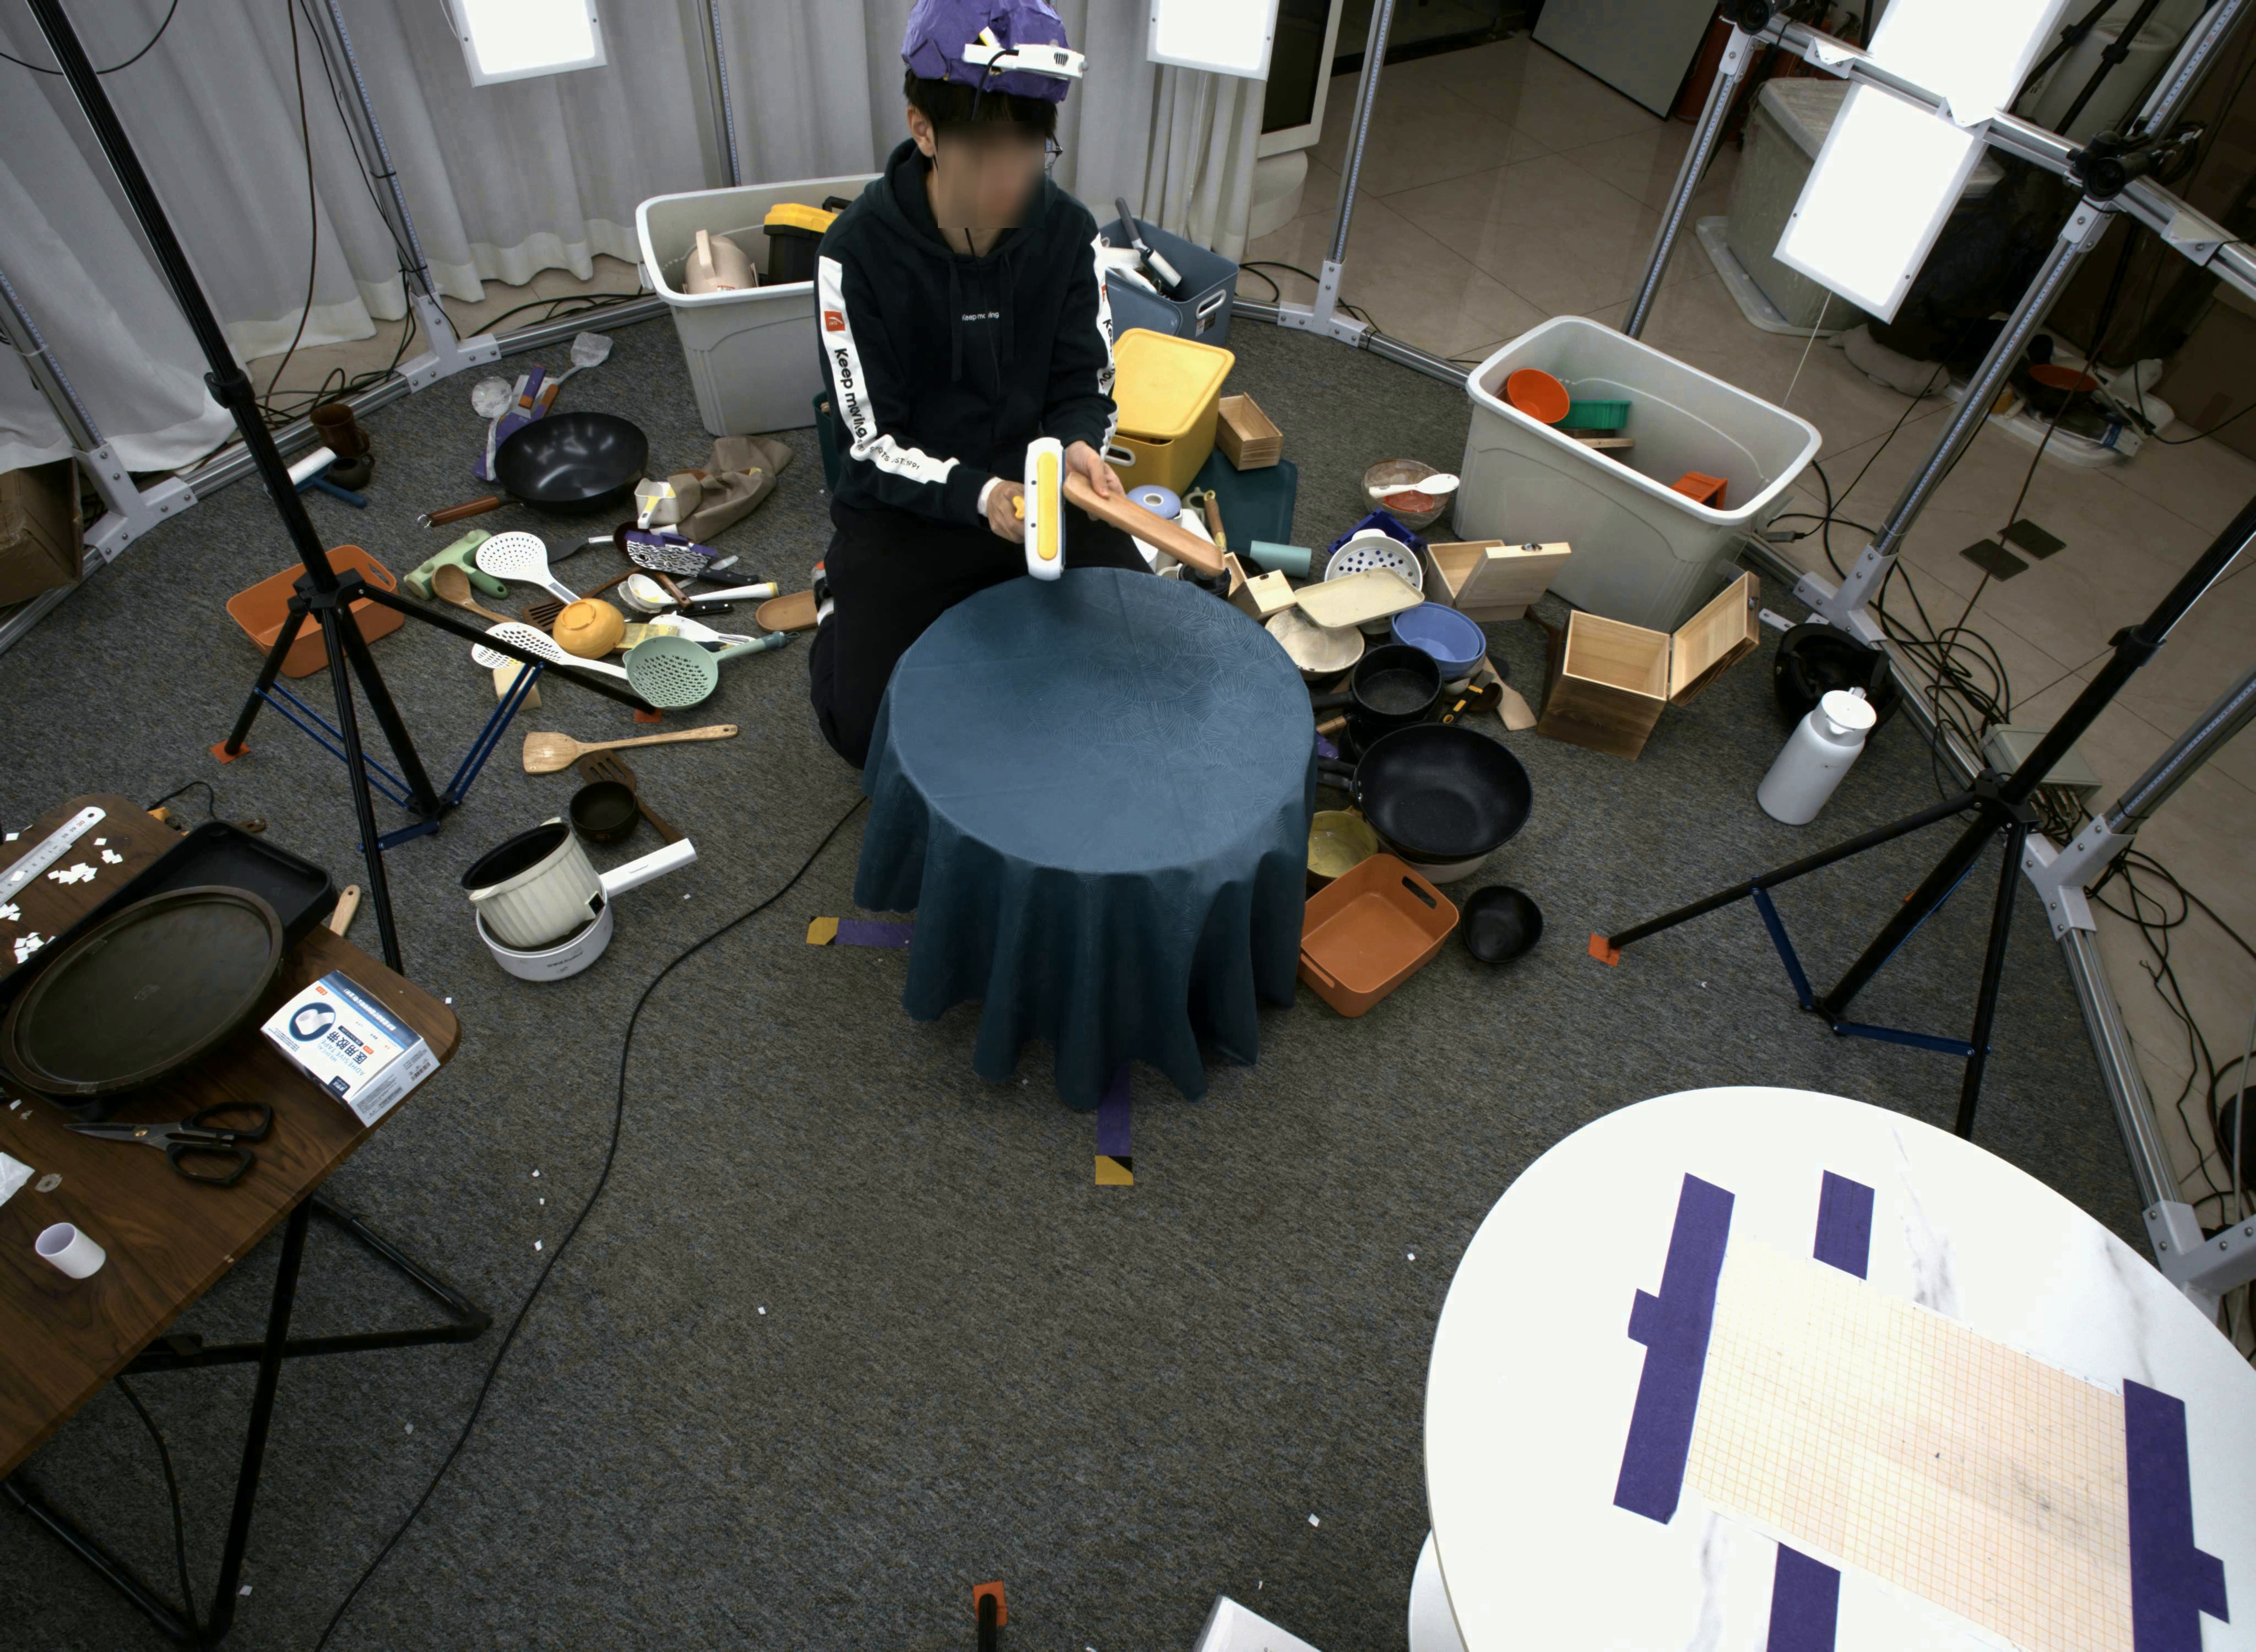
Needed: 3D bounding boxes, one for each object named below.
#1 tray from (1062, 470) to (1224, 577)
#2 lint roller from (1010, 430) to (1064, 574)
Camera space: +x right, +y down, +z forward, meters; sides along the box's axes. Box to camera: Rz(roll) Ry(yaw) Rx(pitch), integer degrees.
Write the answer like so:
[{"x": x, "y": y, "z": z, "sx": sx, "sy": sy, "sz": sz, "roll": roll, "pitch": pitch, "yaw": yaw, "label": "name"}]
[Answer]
[{"x": 0.022, "y": -0.423, "z": 1.805, "sx": 0.249, "sy": 0.022, "sz": 0.133, "roll": 26, "pitch": 22, "yaw": -8, "label": "tray"}, {"x": -0.131, "y": -0.444, "z": 1.829, "sx": 0.074, "sy": 0.192, "sz": 0.193, "roll": -5, "pitch": 90, "yaw": -8, "label": "lint roller"}]
